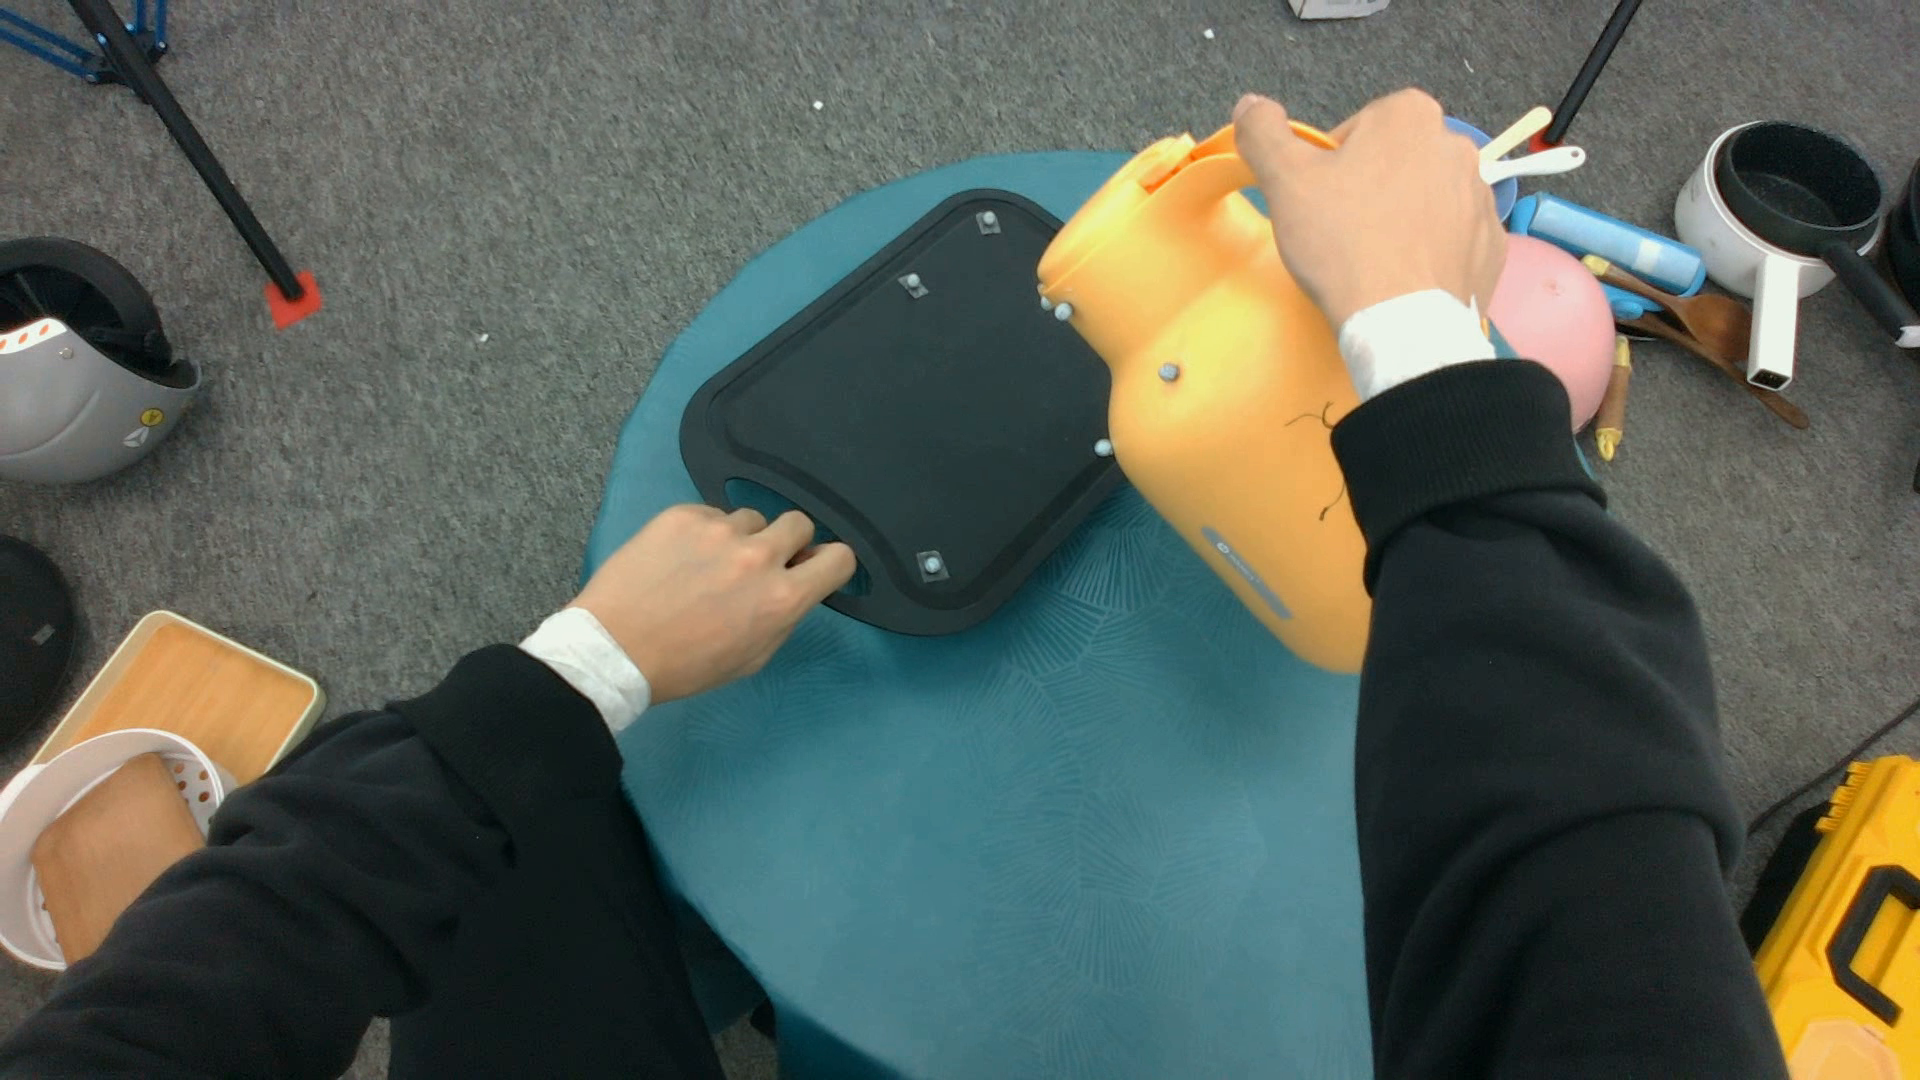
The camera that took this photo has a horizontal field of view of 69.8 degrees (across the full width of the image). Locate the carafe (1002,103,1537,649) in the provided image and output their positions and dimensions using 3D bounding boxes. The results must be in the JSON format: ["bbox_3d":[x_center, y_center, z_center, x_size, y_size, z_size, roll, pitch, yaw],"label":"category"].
[{"bbox_3d":[0.144,-0.082,0.644,0.260,0.201,0.164,43,68,-8],"label":"carafe"}]

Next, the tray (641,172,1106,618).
[{"bbox_3d":[-0.021,-0.094,0.790,0.211,0.010,0.327,37,57,12],"label":"tray"}]
